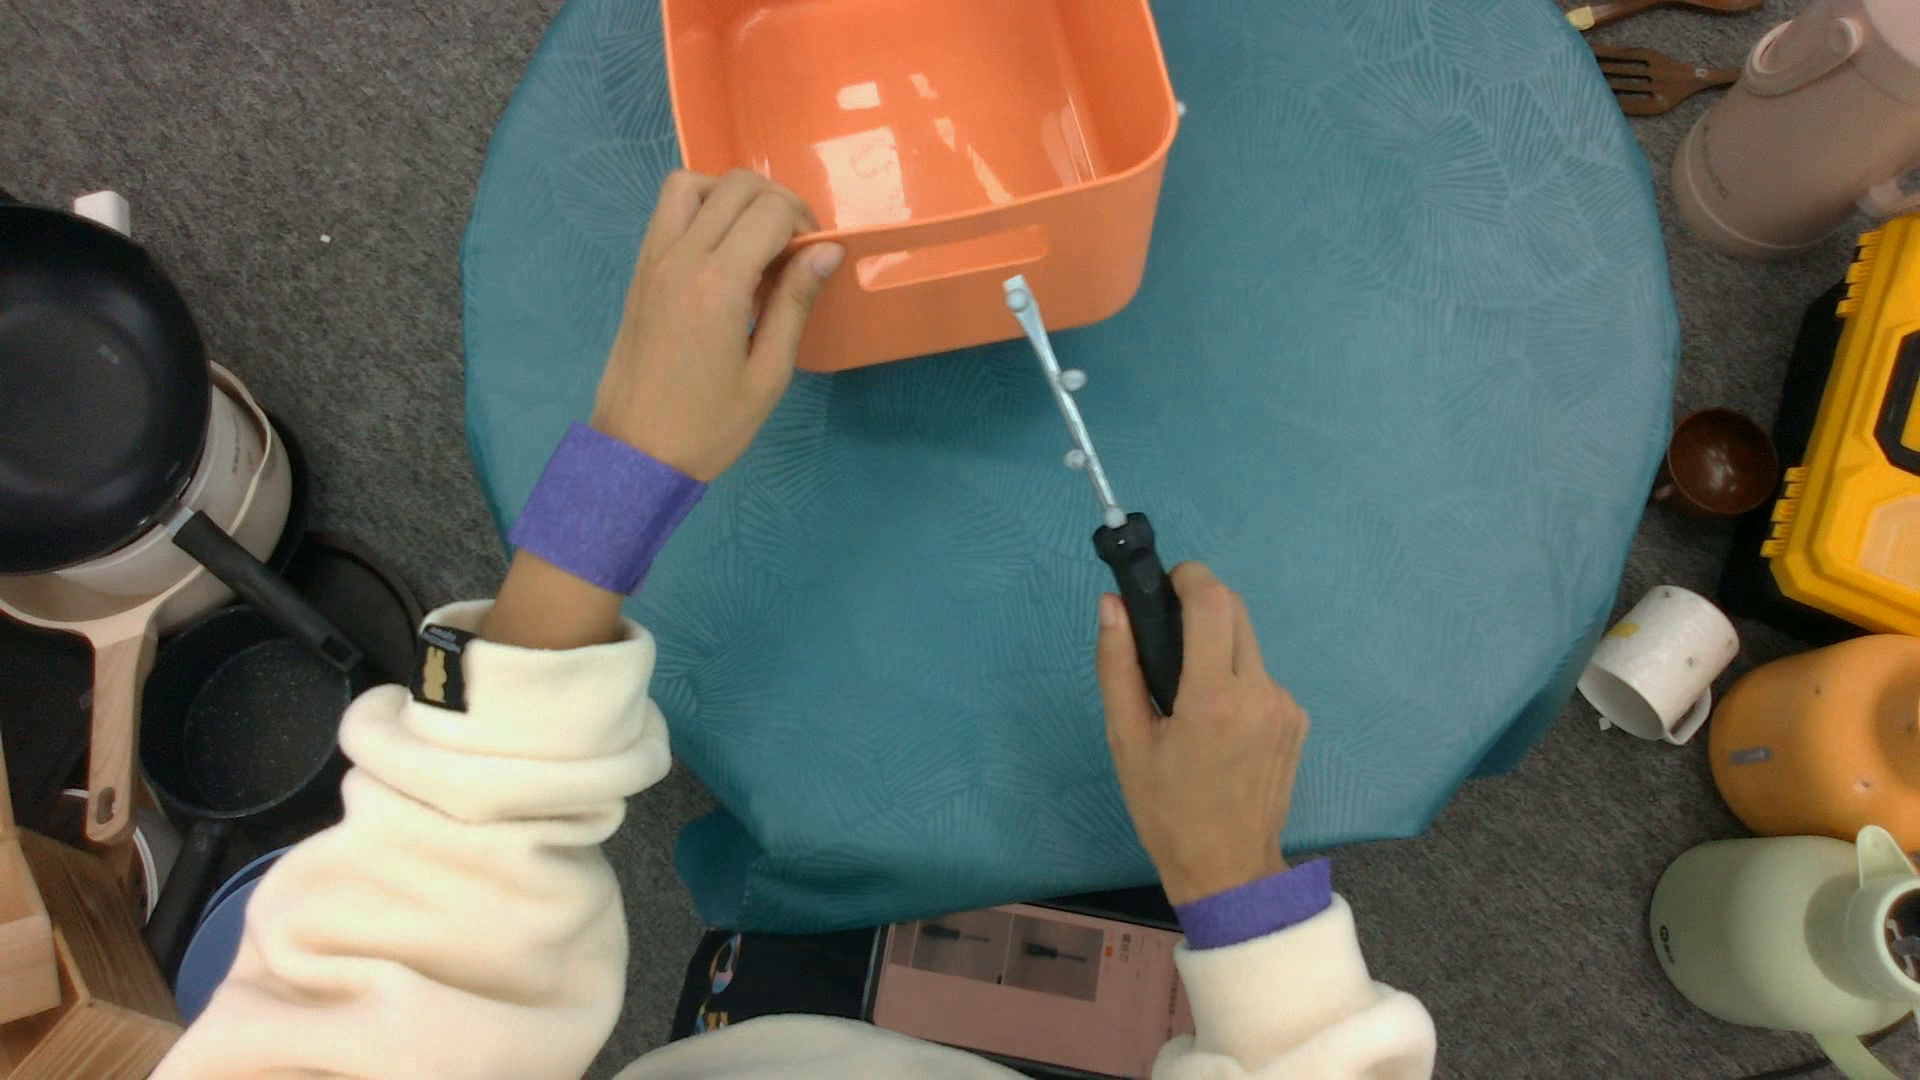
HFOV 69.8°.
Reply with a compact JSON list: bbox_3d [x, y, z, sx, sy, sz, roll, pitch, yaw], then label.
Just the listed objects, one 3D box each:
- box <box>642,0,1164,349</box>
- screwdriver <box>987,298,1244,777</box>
[{"bbox_3d":[-0.033,-0.215,0.619,0.199,0.102,0.274,-10,57,-4],"label":"box"},{"bbox_3d":[0.053,0.001,0.512,0.031,0.031,0.197,-31,96,-8],"label":"screwdriver"}]
